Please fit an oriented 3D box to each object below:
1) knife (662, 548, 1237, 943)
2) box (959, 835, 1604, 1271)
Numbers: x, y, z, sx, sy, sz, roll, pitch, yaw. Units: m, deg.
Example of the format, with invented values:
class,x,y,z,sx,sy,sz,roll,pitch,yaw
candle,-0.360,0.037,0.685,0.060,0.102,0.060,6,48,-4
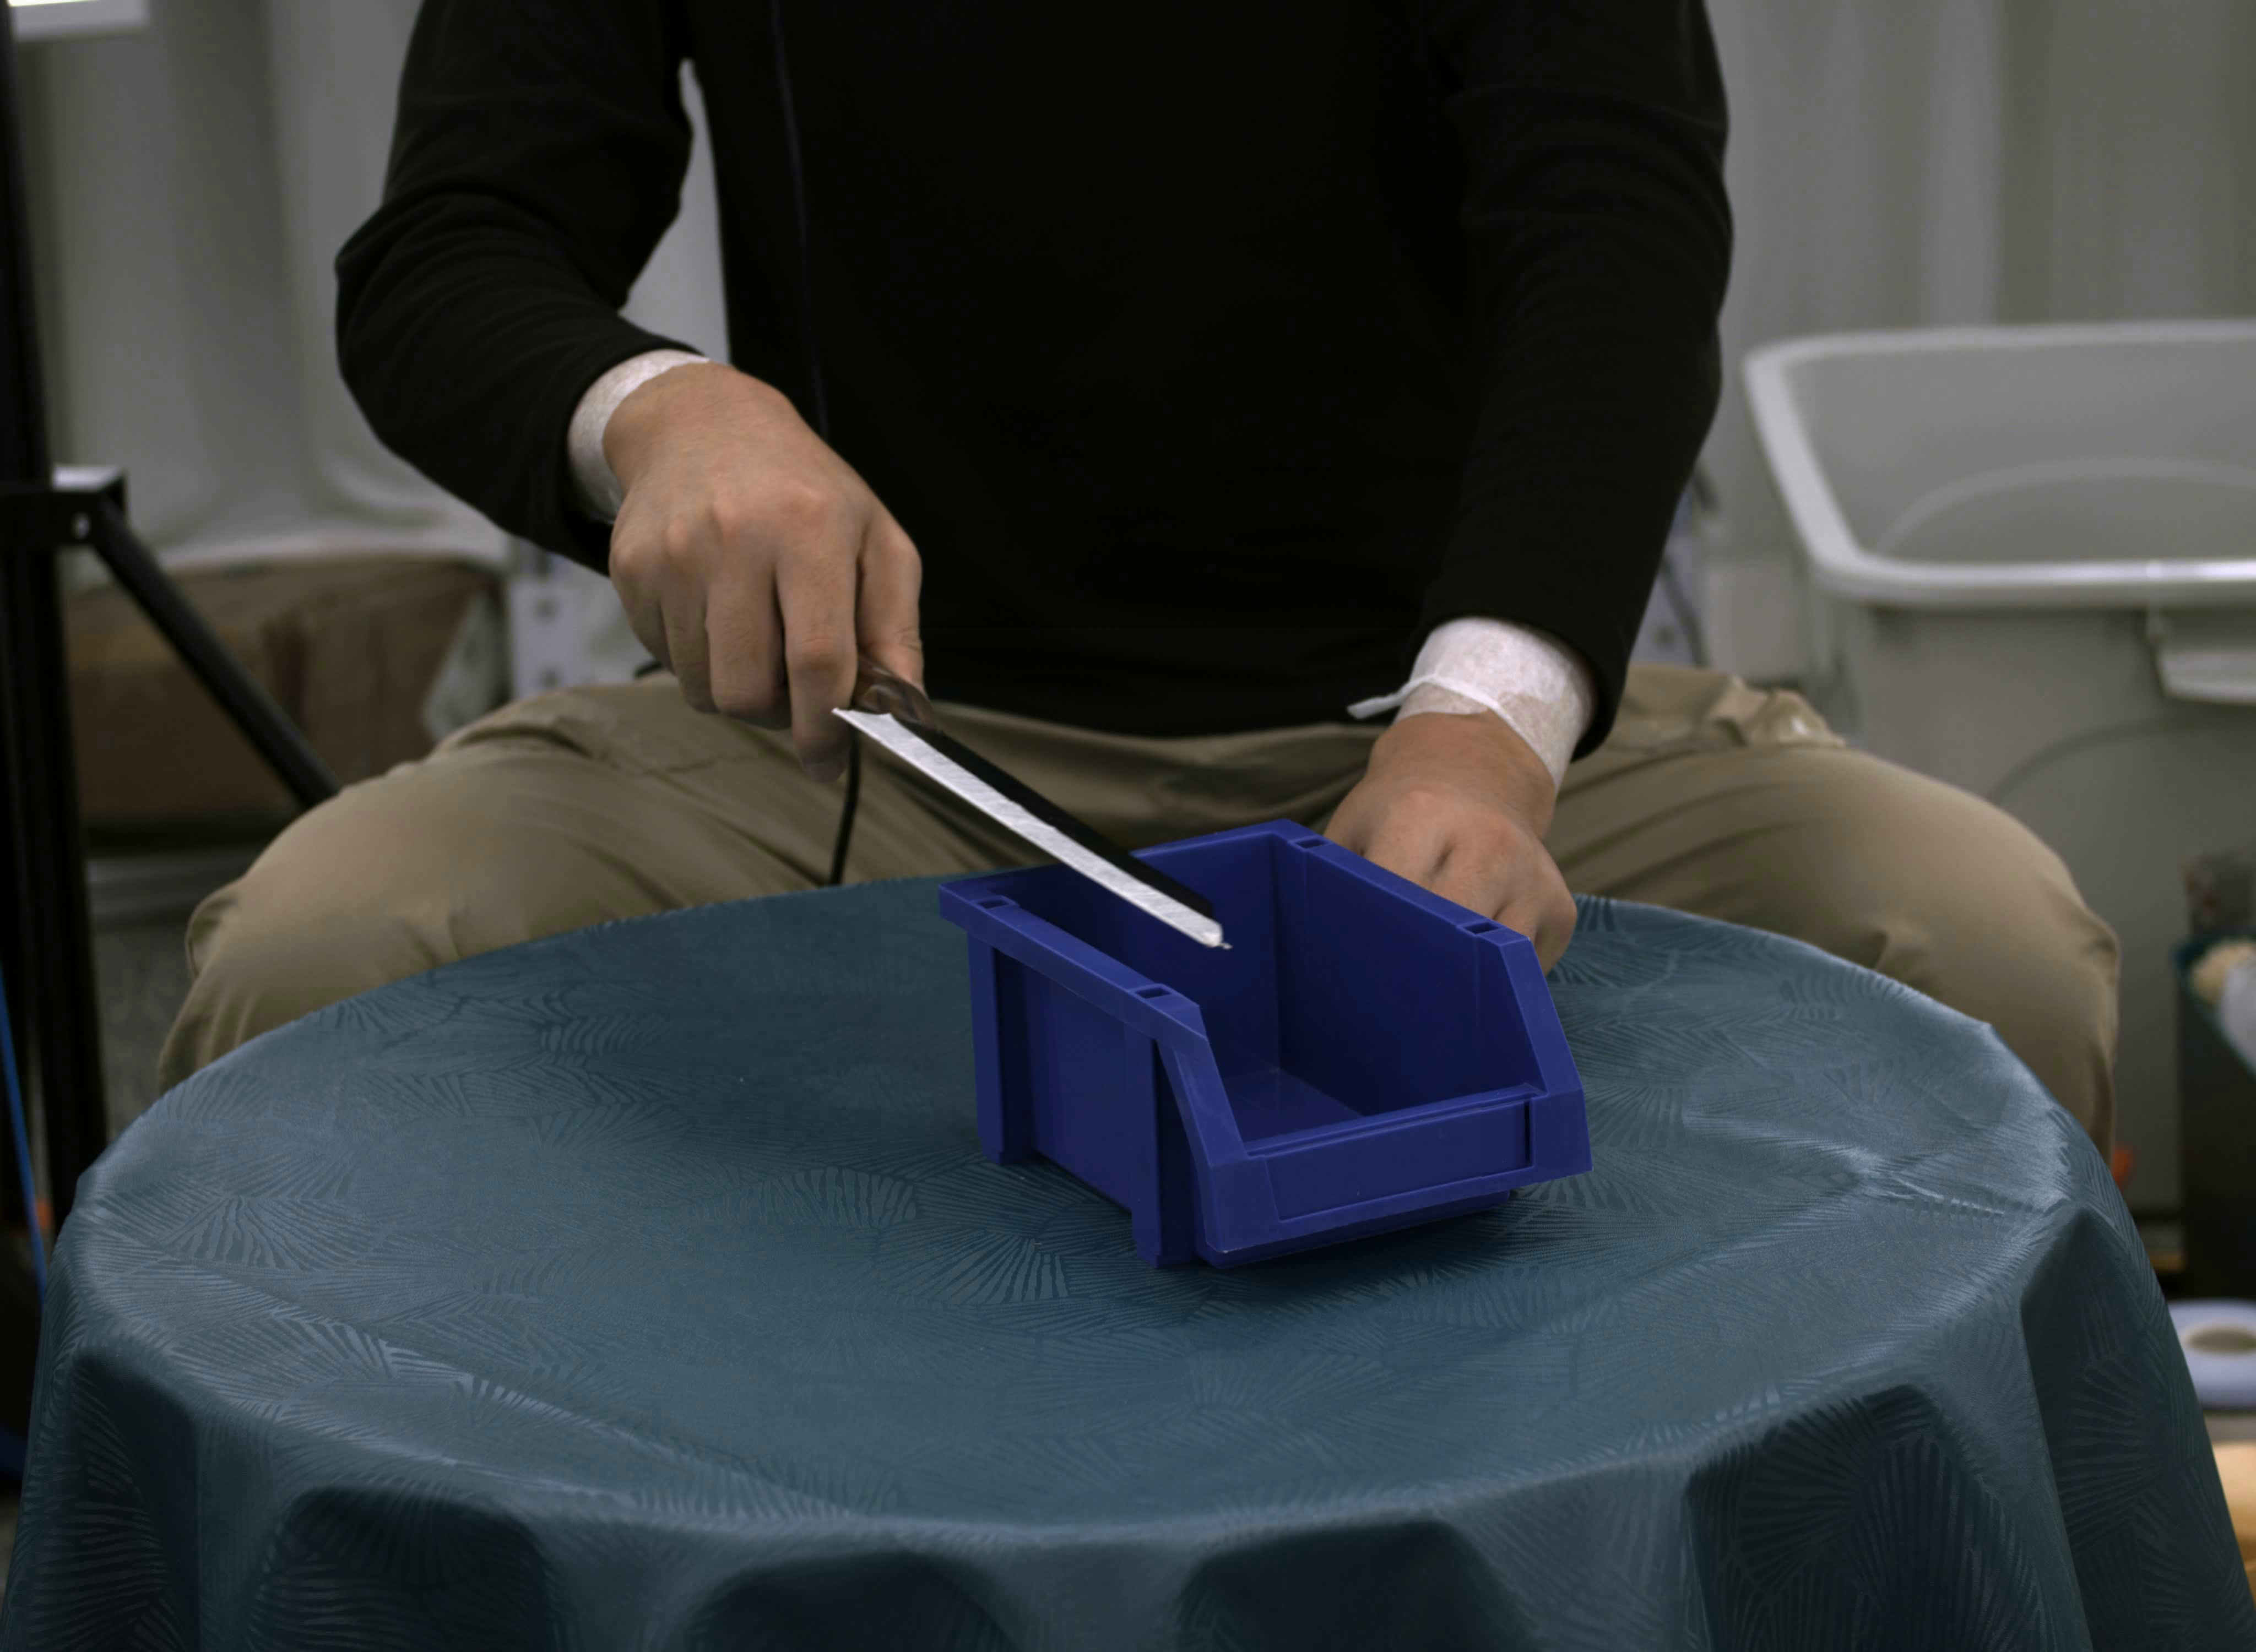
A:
class,x,y,z,sx,sy,sz,roll,pitch,yaw
knife,-0.058,-0.024,1.635,0.049,0.020,0.296,8,18,-43
box,0.044,0.067,1.542,0.122,0.082,0.183,-9,14,-23
